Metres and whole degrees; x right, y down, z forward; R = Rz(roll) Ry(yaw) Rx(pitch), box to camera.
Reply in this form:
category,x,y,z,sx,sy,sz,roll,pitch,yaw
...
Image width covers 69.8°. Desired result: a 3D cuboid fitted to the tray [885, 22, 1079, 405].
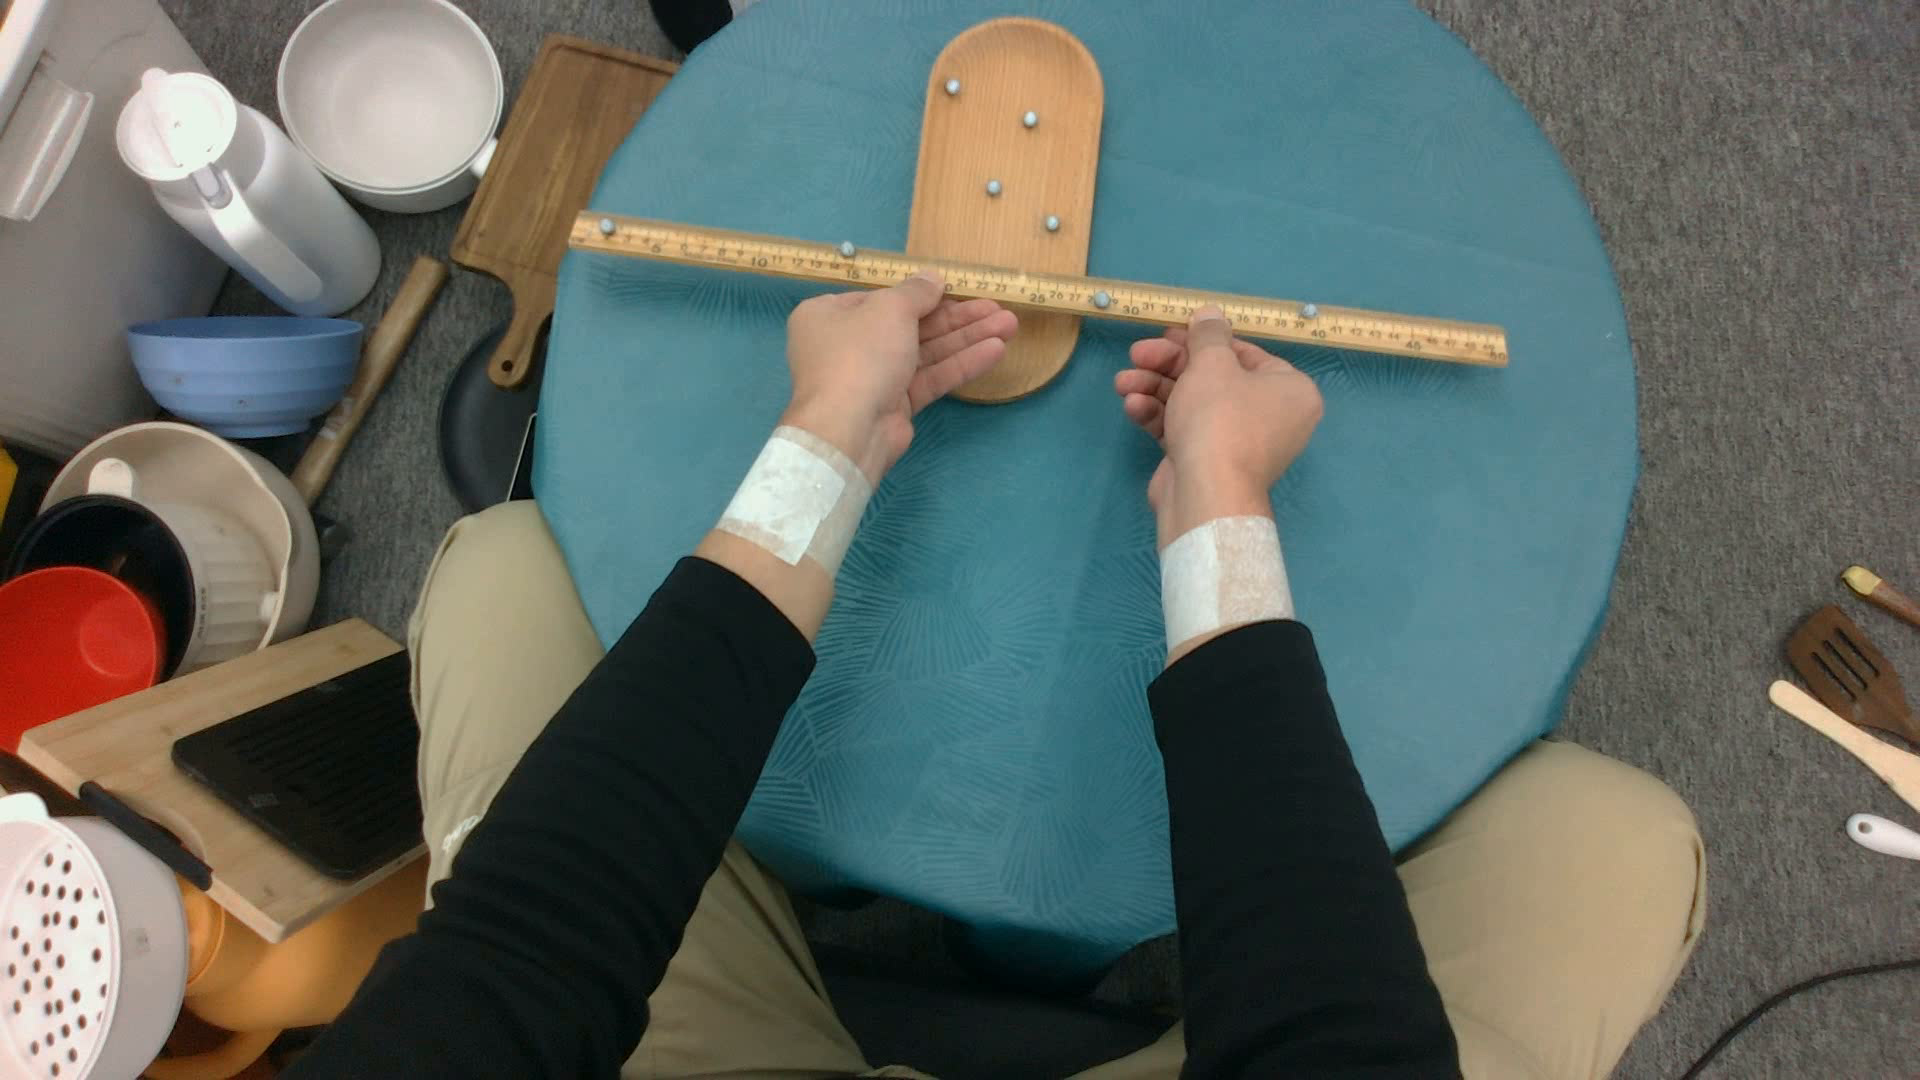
category,x,y,z,sx,sy,sz,roll,pitch,yaw
tray,0.013,-0.186,0.774,0.101,0.020,0.231,3,77,2

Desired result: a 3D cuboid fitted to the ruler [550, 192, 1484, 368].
category,x,y,z,sx,sy,sz,roll,pitch,yaw
ruler,0.032,-0.138,0.732,0.500,0.006,0.027,8,62,-1
